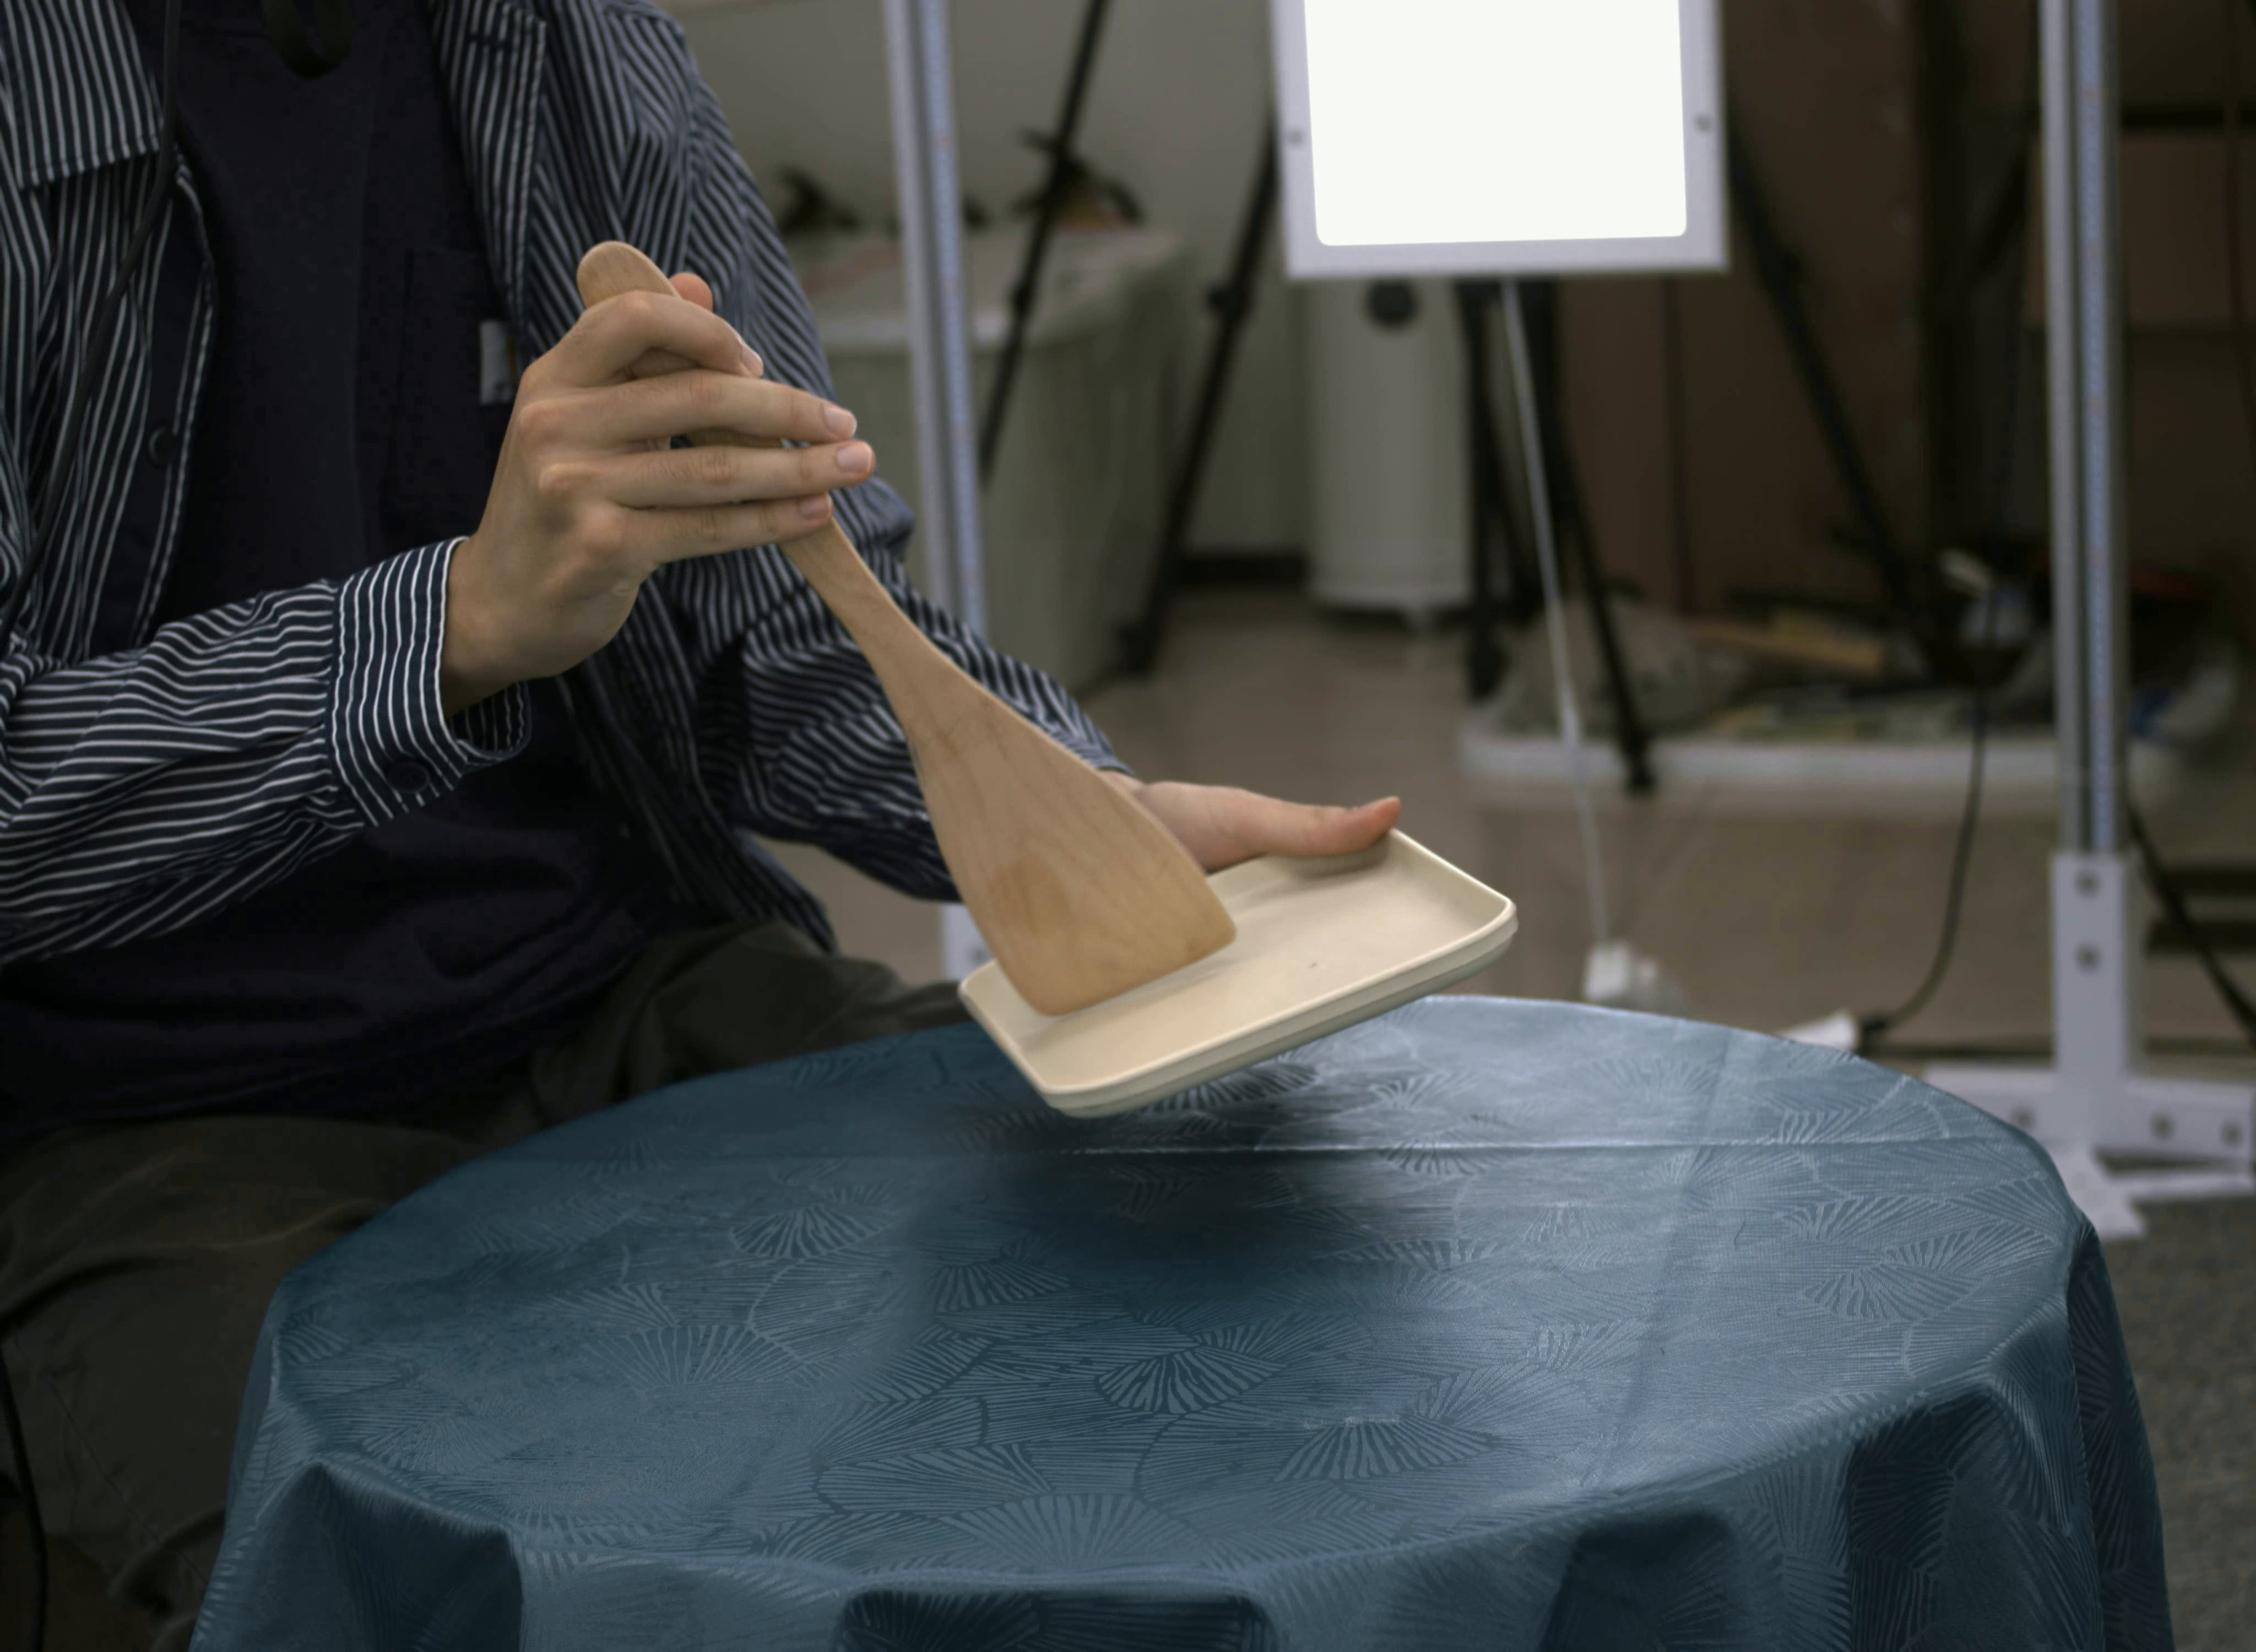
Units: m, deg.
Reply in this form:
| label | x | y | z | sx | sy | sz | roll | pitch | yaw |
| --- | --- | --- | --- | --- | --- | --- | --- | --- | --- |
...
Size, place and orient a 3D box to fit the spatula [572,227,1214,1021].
| label | x | y | z | sx | sy | sz | roll | pitch | yaw |
| --- | --- | --- | --- | --- | --- | --- | --- | --- | --- |
| spatula | -0.089 | -0.068 | 1.880 | 0.080 | 0.326 | 0.016 | -32 | 14 | 13 |

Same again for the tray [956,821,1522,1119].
| label | x | y | z | sx | sy | sz | roll | pitch | yaw |
| --- | --- | --- | --- | --- | --- | --- | --- | --- | --- |
| tray | 0.036 | 0.049 | 1.888 | 0.170 | 0.017 | 0.241 | -22 | 11 | -6 |
